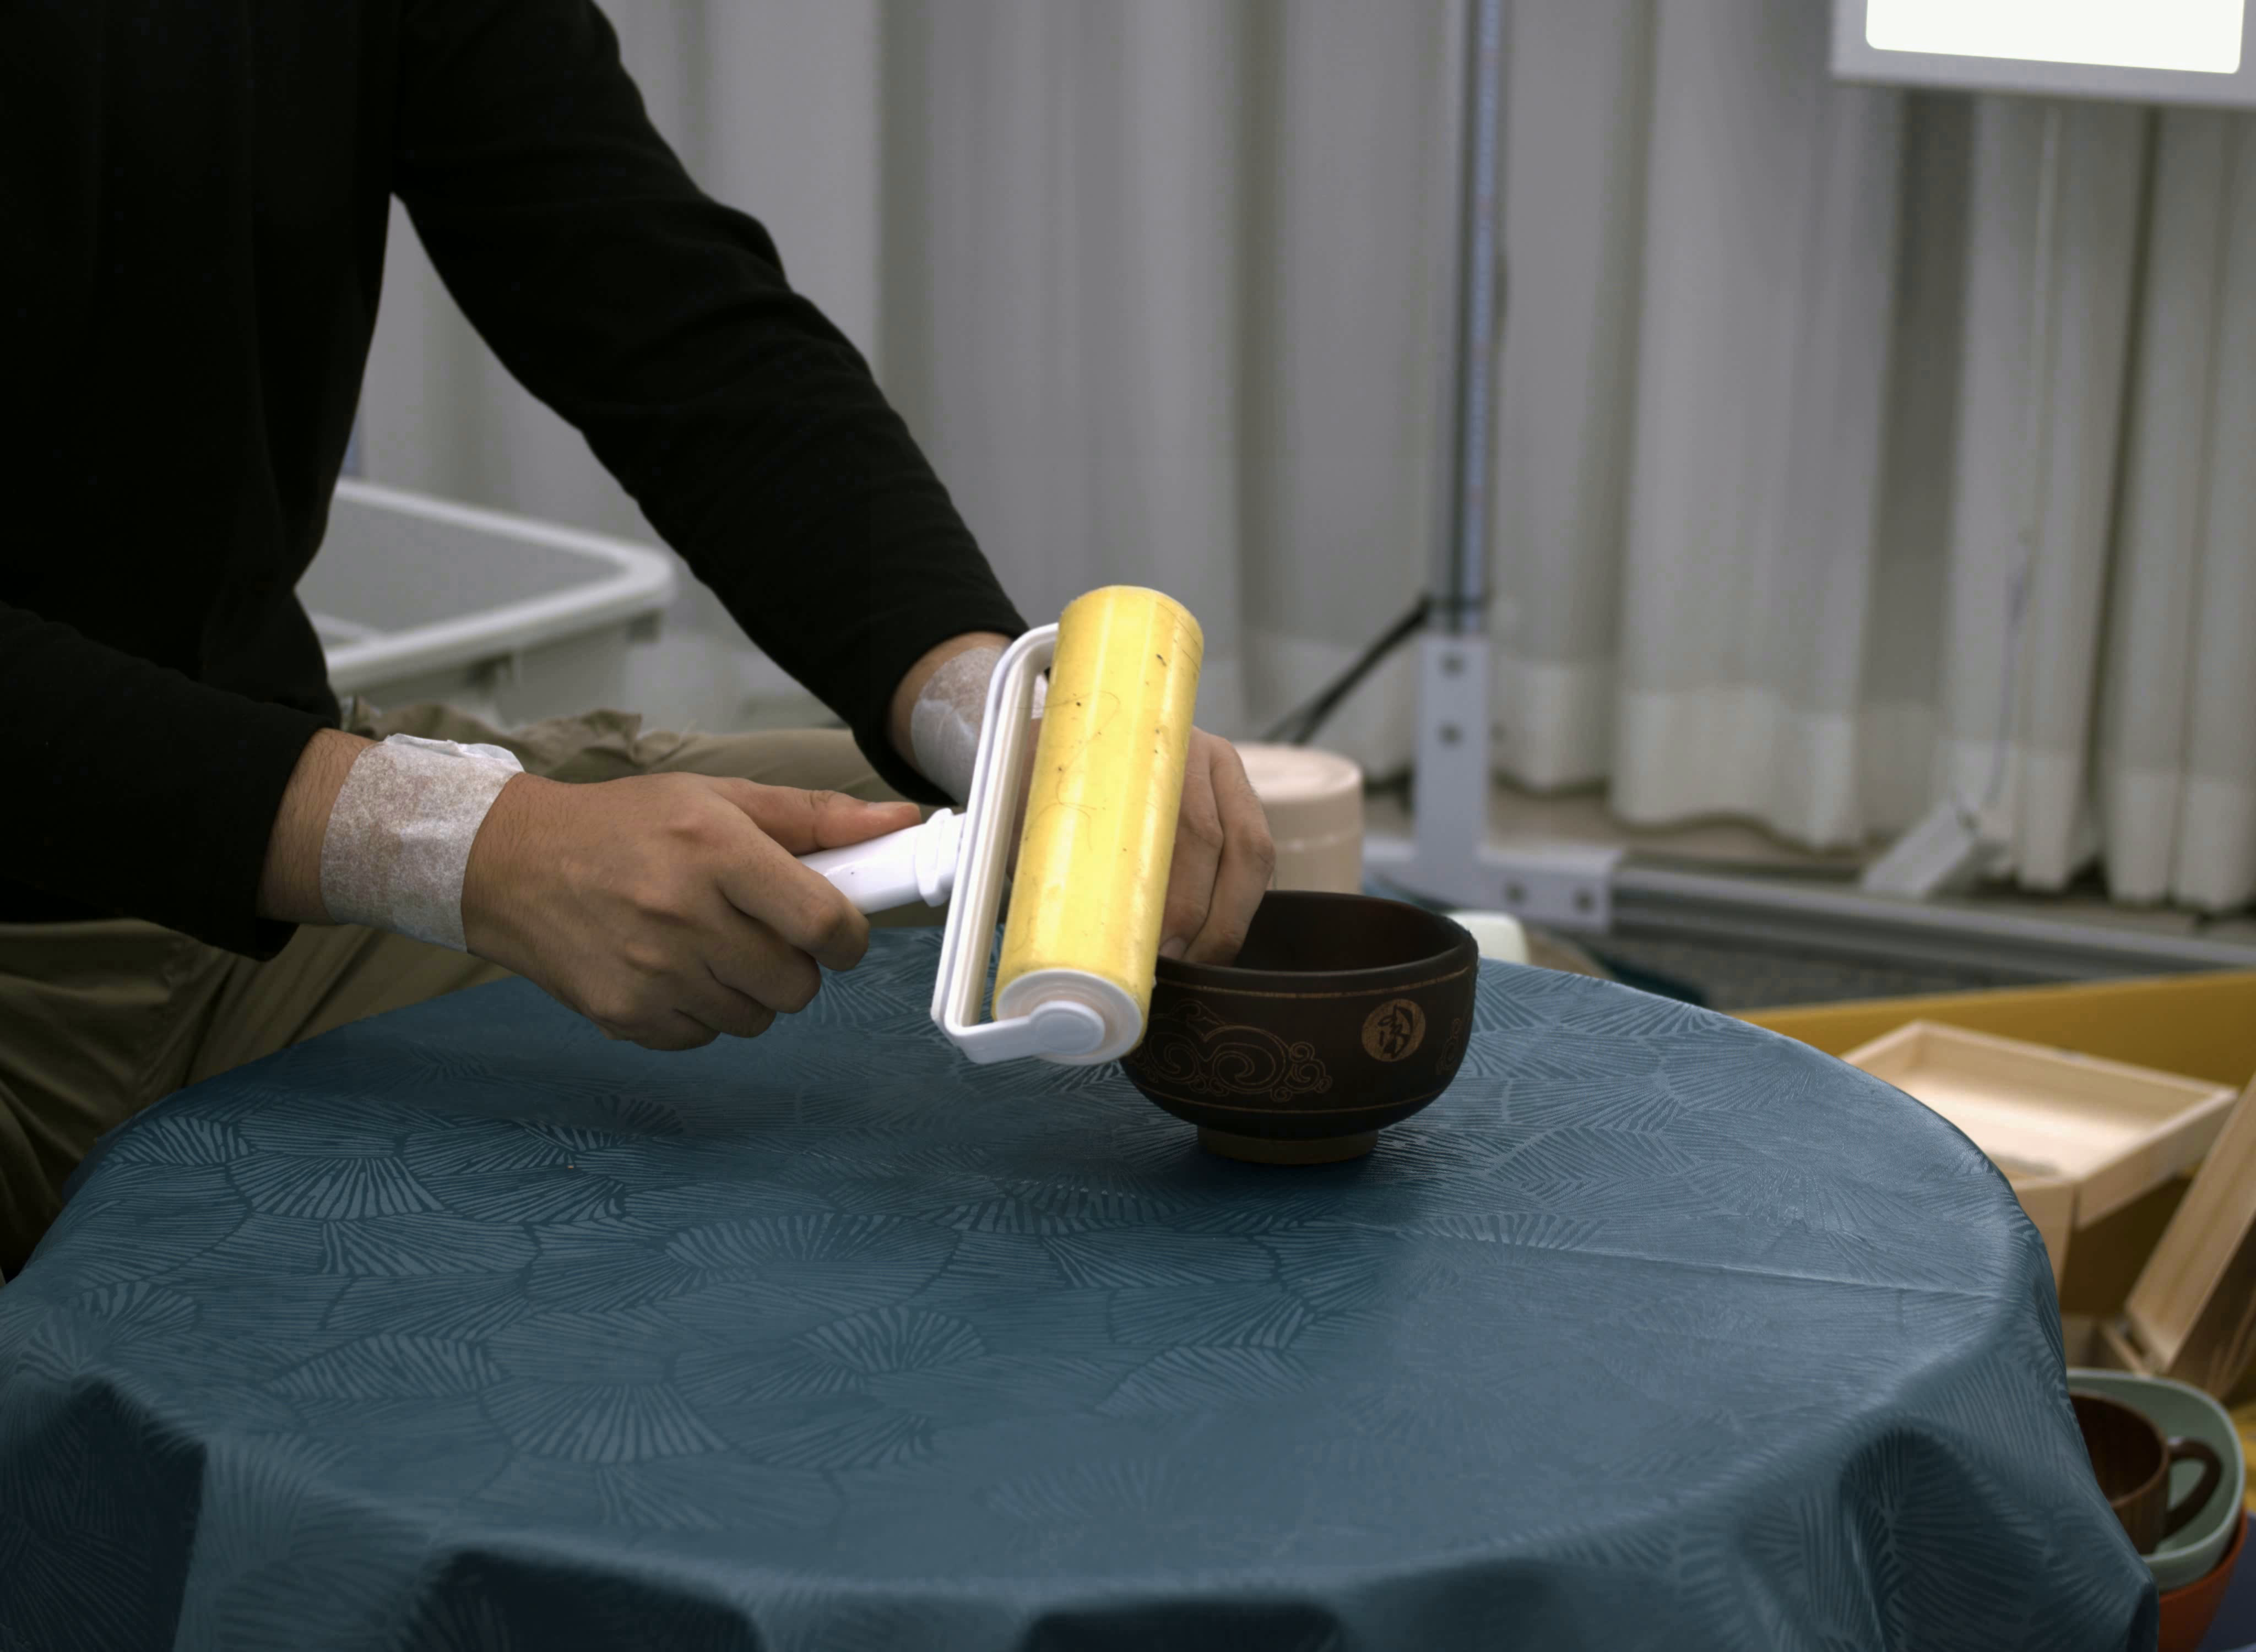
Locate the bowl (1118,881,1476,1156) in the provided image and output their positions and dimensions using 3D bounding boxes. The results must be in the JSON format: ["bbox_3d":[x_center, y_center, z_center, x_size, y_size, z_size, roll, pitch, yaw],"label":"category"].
[{"bbox_3d":[0.050,0.063,1.654,0.117,0.070,0.117,2,12,0],"label":"bowl"}]

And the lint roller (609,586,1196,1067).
[{"bbox_3d":[-0.077,0.008,1.639,0.191,0.052,0.173,-6,46,13],"label":"lint roller"}]
